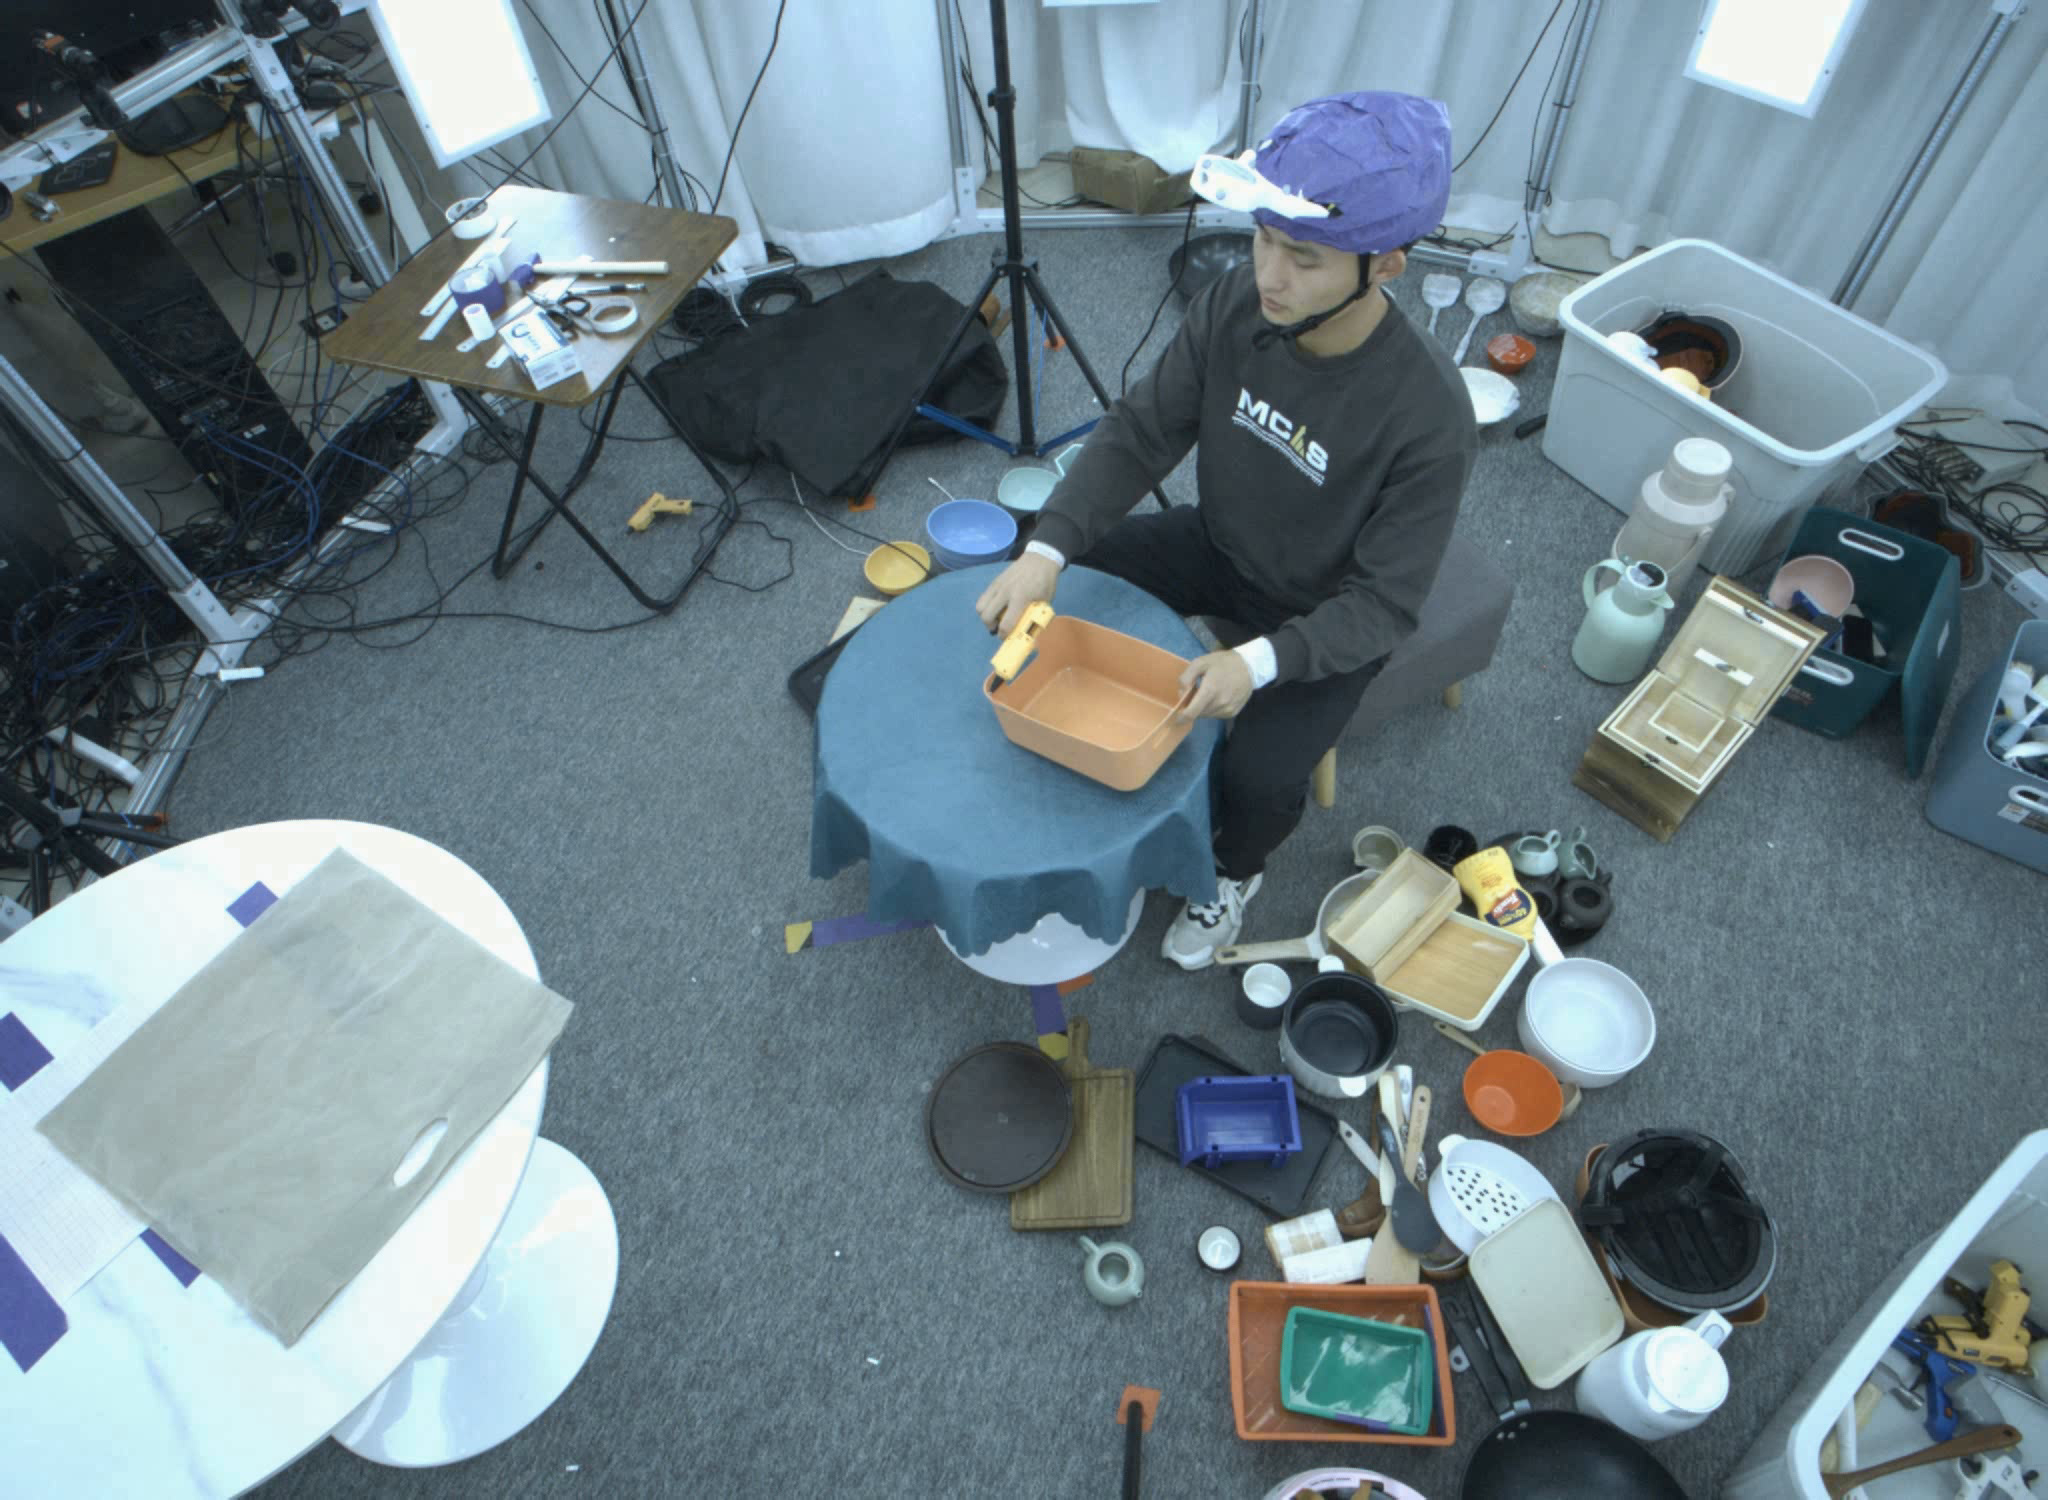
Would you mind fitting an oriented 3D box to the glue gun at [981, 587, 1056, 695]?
[{"bbox_3d":[-0.036,-0.155,1.758,0.130,0.032,0.151,26,84,42],"label":"glue gun"}]

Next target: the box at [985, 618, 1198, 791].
[{"bbox_3d":[0.101,-0.064,1.746,0.267,0.104,0.200,24,57,30],"label":"box"}]
